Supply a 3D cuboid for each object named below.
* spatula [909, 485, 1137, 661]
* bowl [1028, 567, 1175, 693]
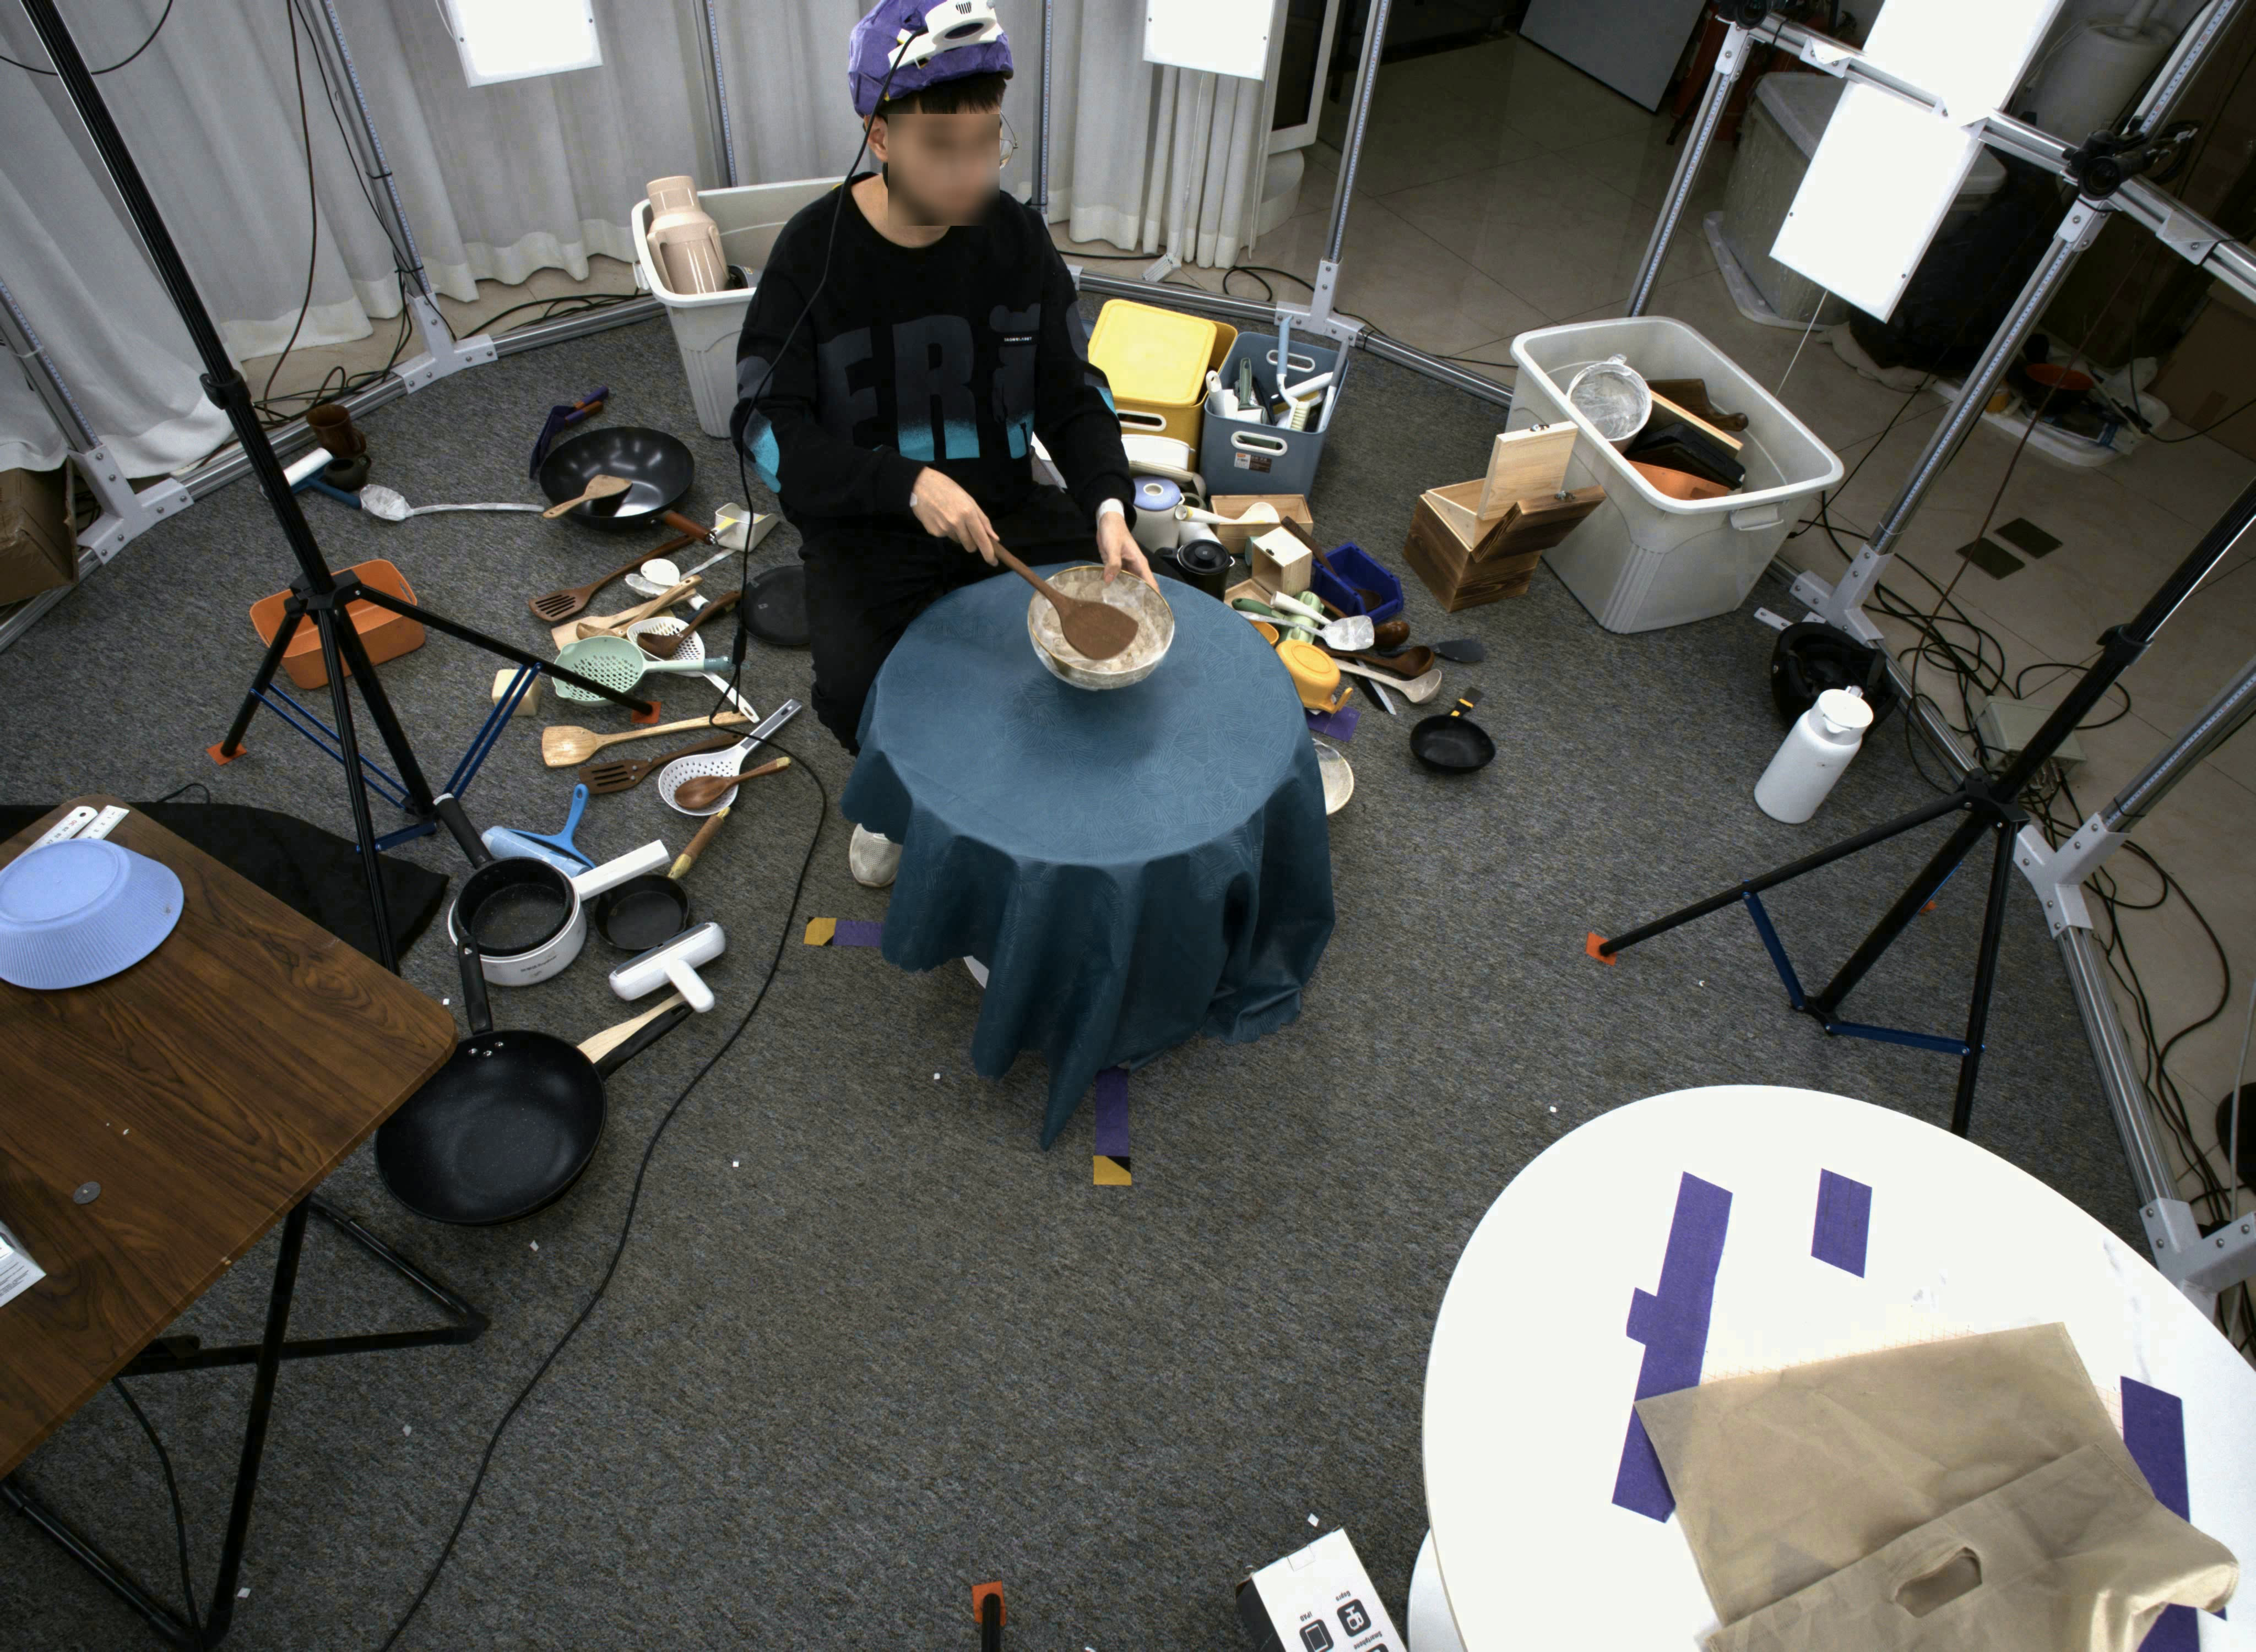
[{"bbox_3d":[-0.153,-0.356,1.764,0.389,0.015,0.097,39,59,12],"label":"spatula"},{"bbox_3d":[-0.040,-0.260,1.801,0.214,0.092,0.220,3,53,-4],"label":"bowl"}]
